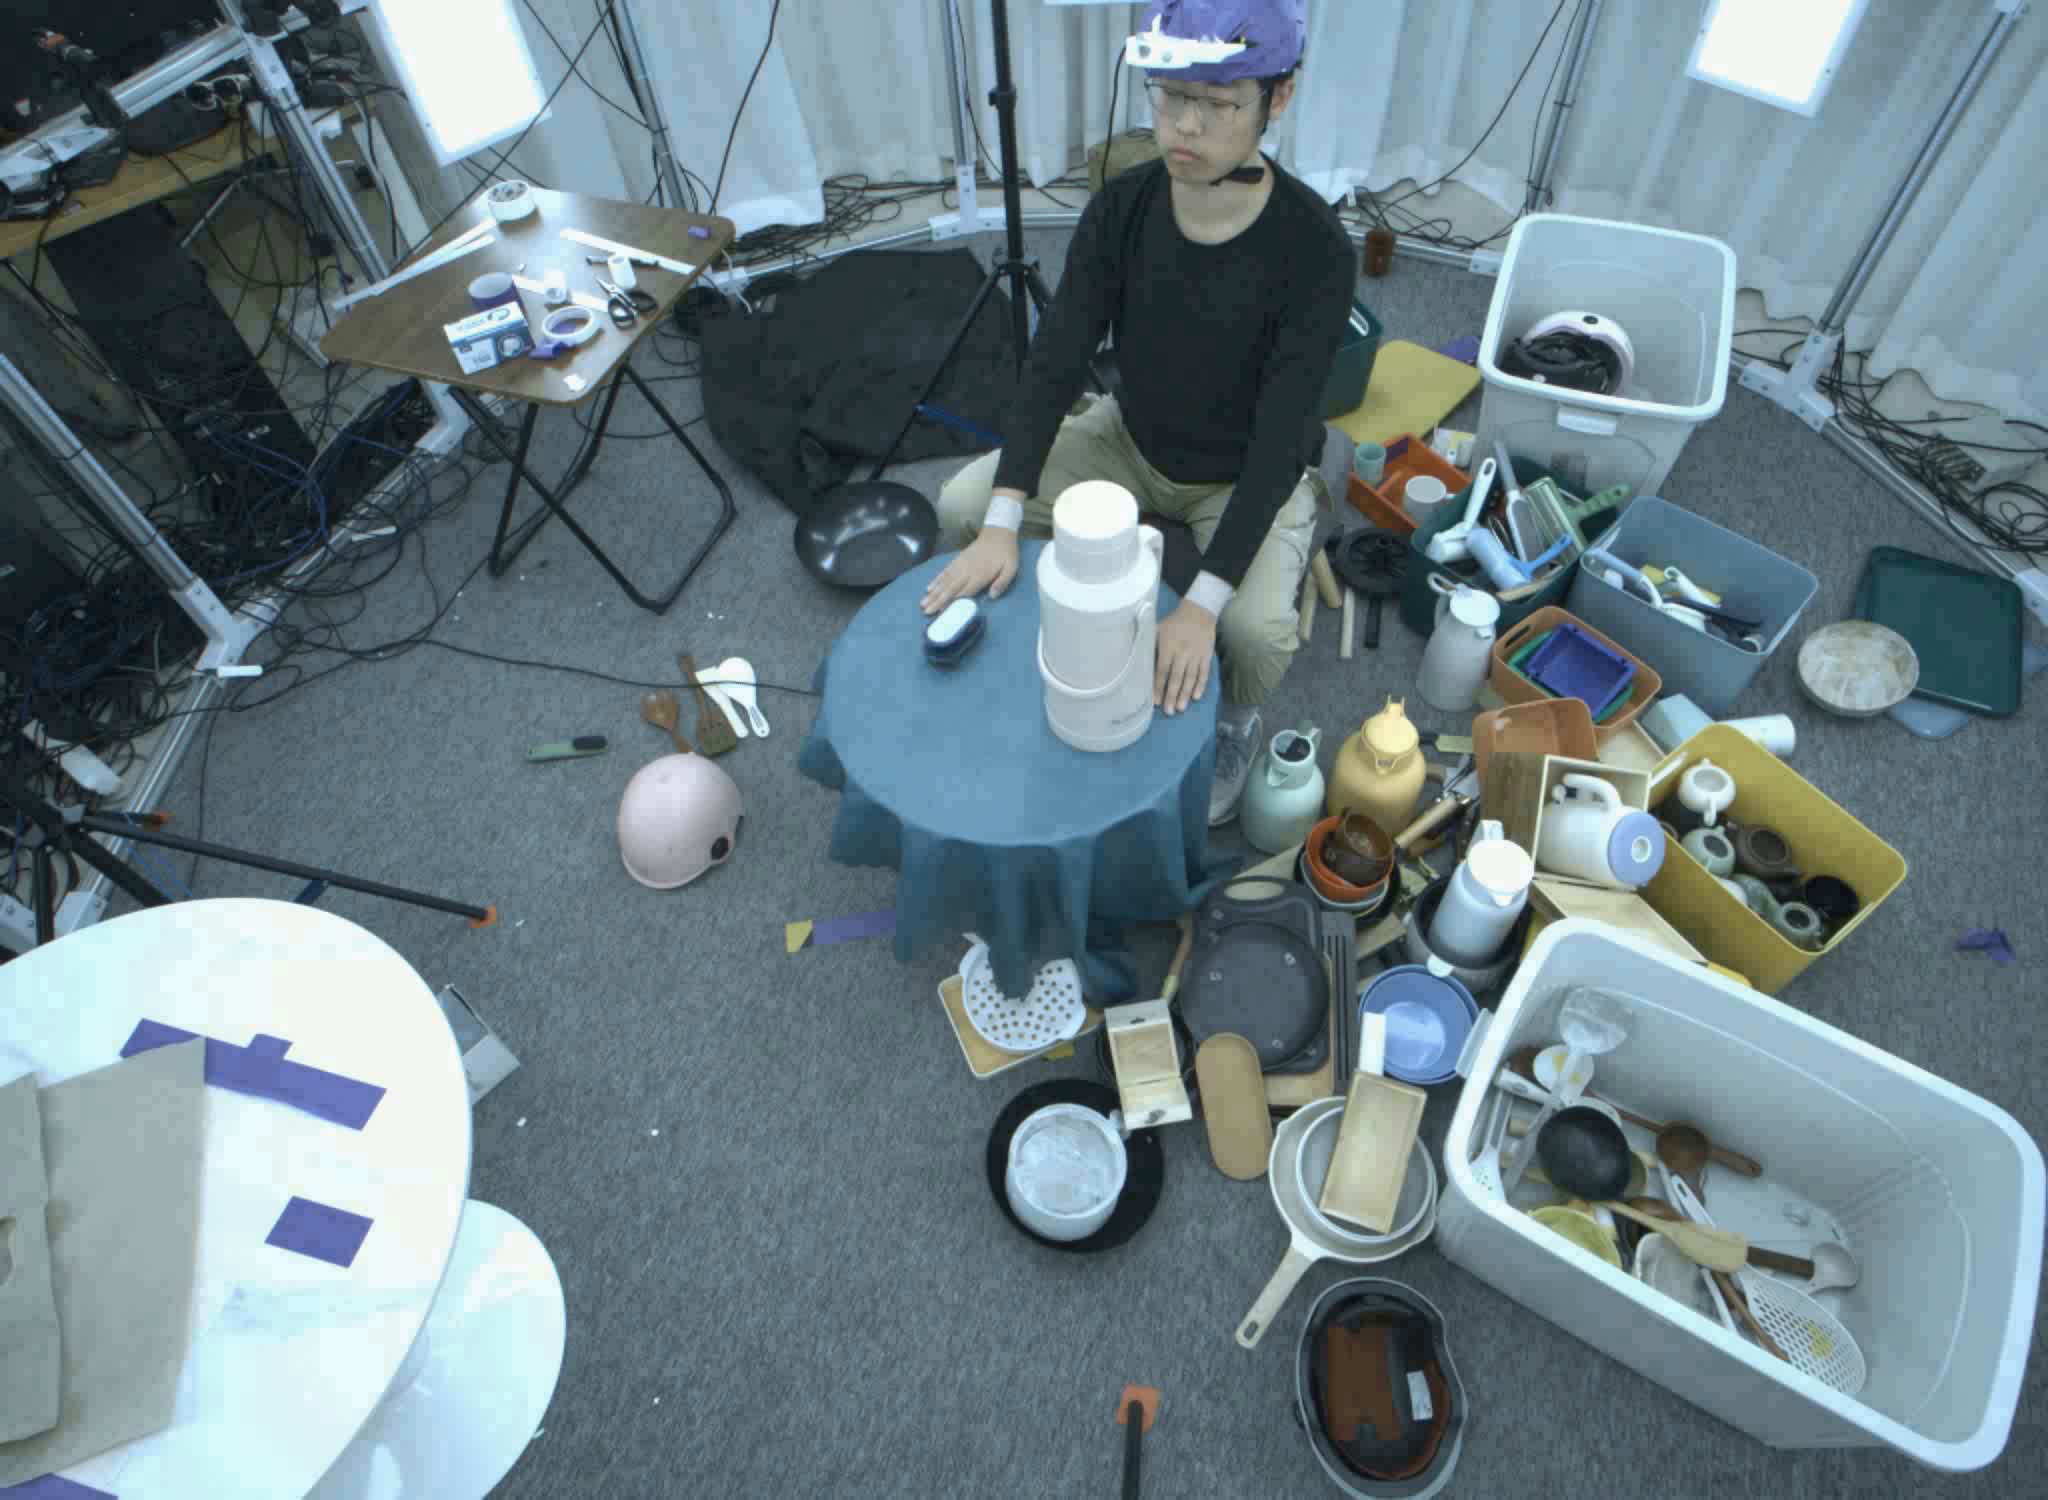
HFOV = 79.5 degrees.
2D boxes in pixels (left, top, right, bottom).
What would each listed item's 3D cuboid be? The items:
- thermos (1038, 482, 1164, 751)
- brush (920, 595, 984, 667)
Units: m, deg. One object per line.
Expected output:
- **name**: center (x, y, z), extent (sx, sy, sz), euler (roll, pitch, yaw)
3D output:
- **thermos**: center (0.113, -0.184, 1.670), extent (0.172, 0.411, 0.208), euler (36, 65, 27)
- **brush**: center (-0.111, -0.181, 1.887), extent (0.067, 0.062, 0.122), euler (31, 62, 22)
